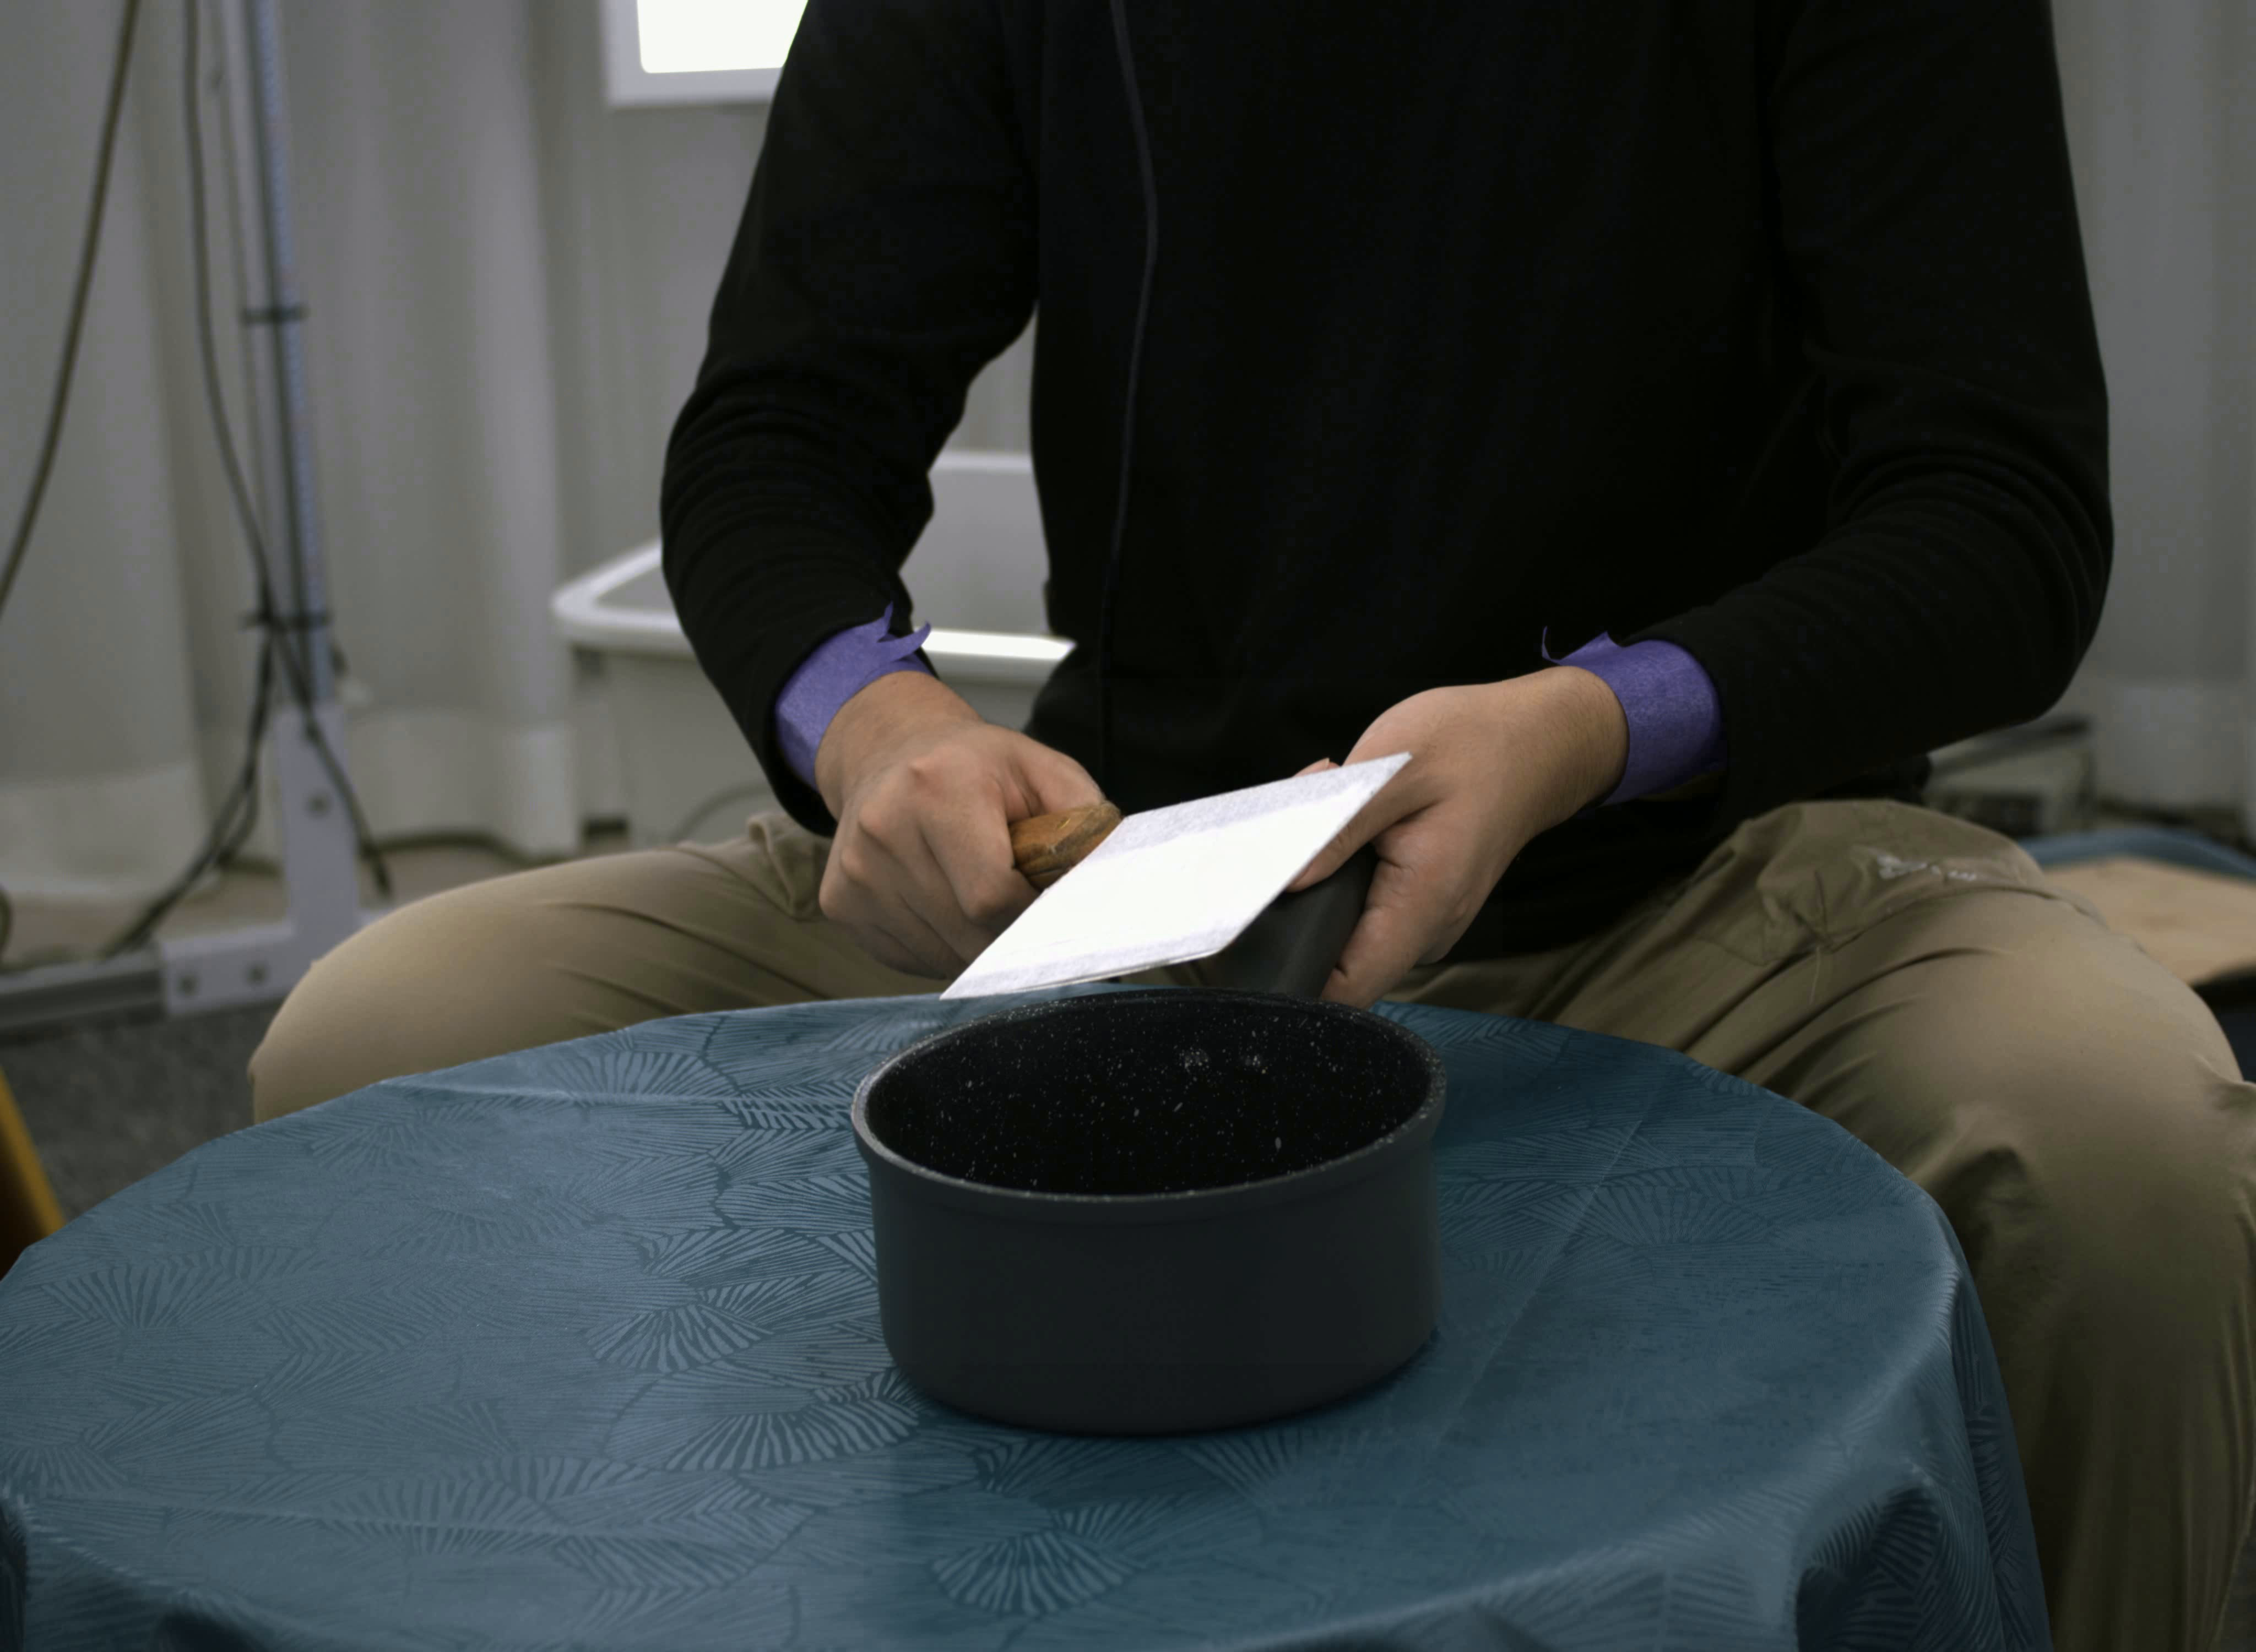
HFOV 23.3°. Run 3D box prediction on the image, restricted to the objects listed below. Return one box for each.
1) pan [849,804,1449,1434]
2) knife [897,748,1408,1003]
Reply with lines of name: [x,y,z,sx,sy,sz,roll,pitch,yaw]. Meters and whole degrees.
pan: [0.032,0.084,1.642,0.172,0.086,0.330,3,19,19]
knife: [-0.013,0.021,1.713,0.093,0.021,0.306,-45,14,-24]
